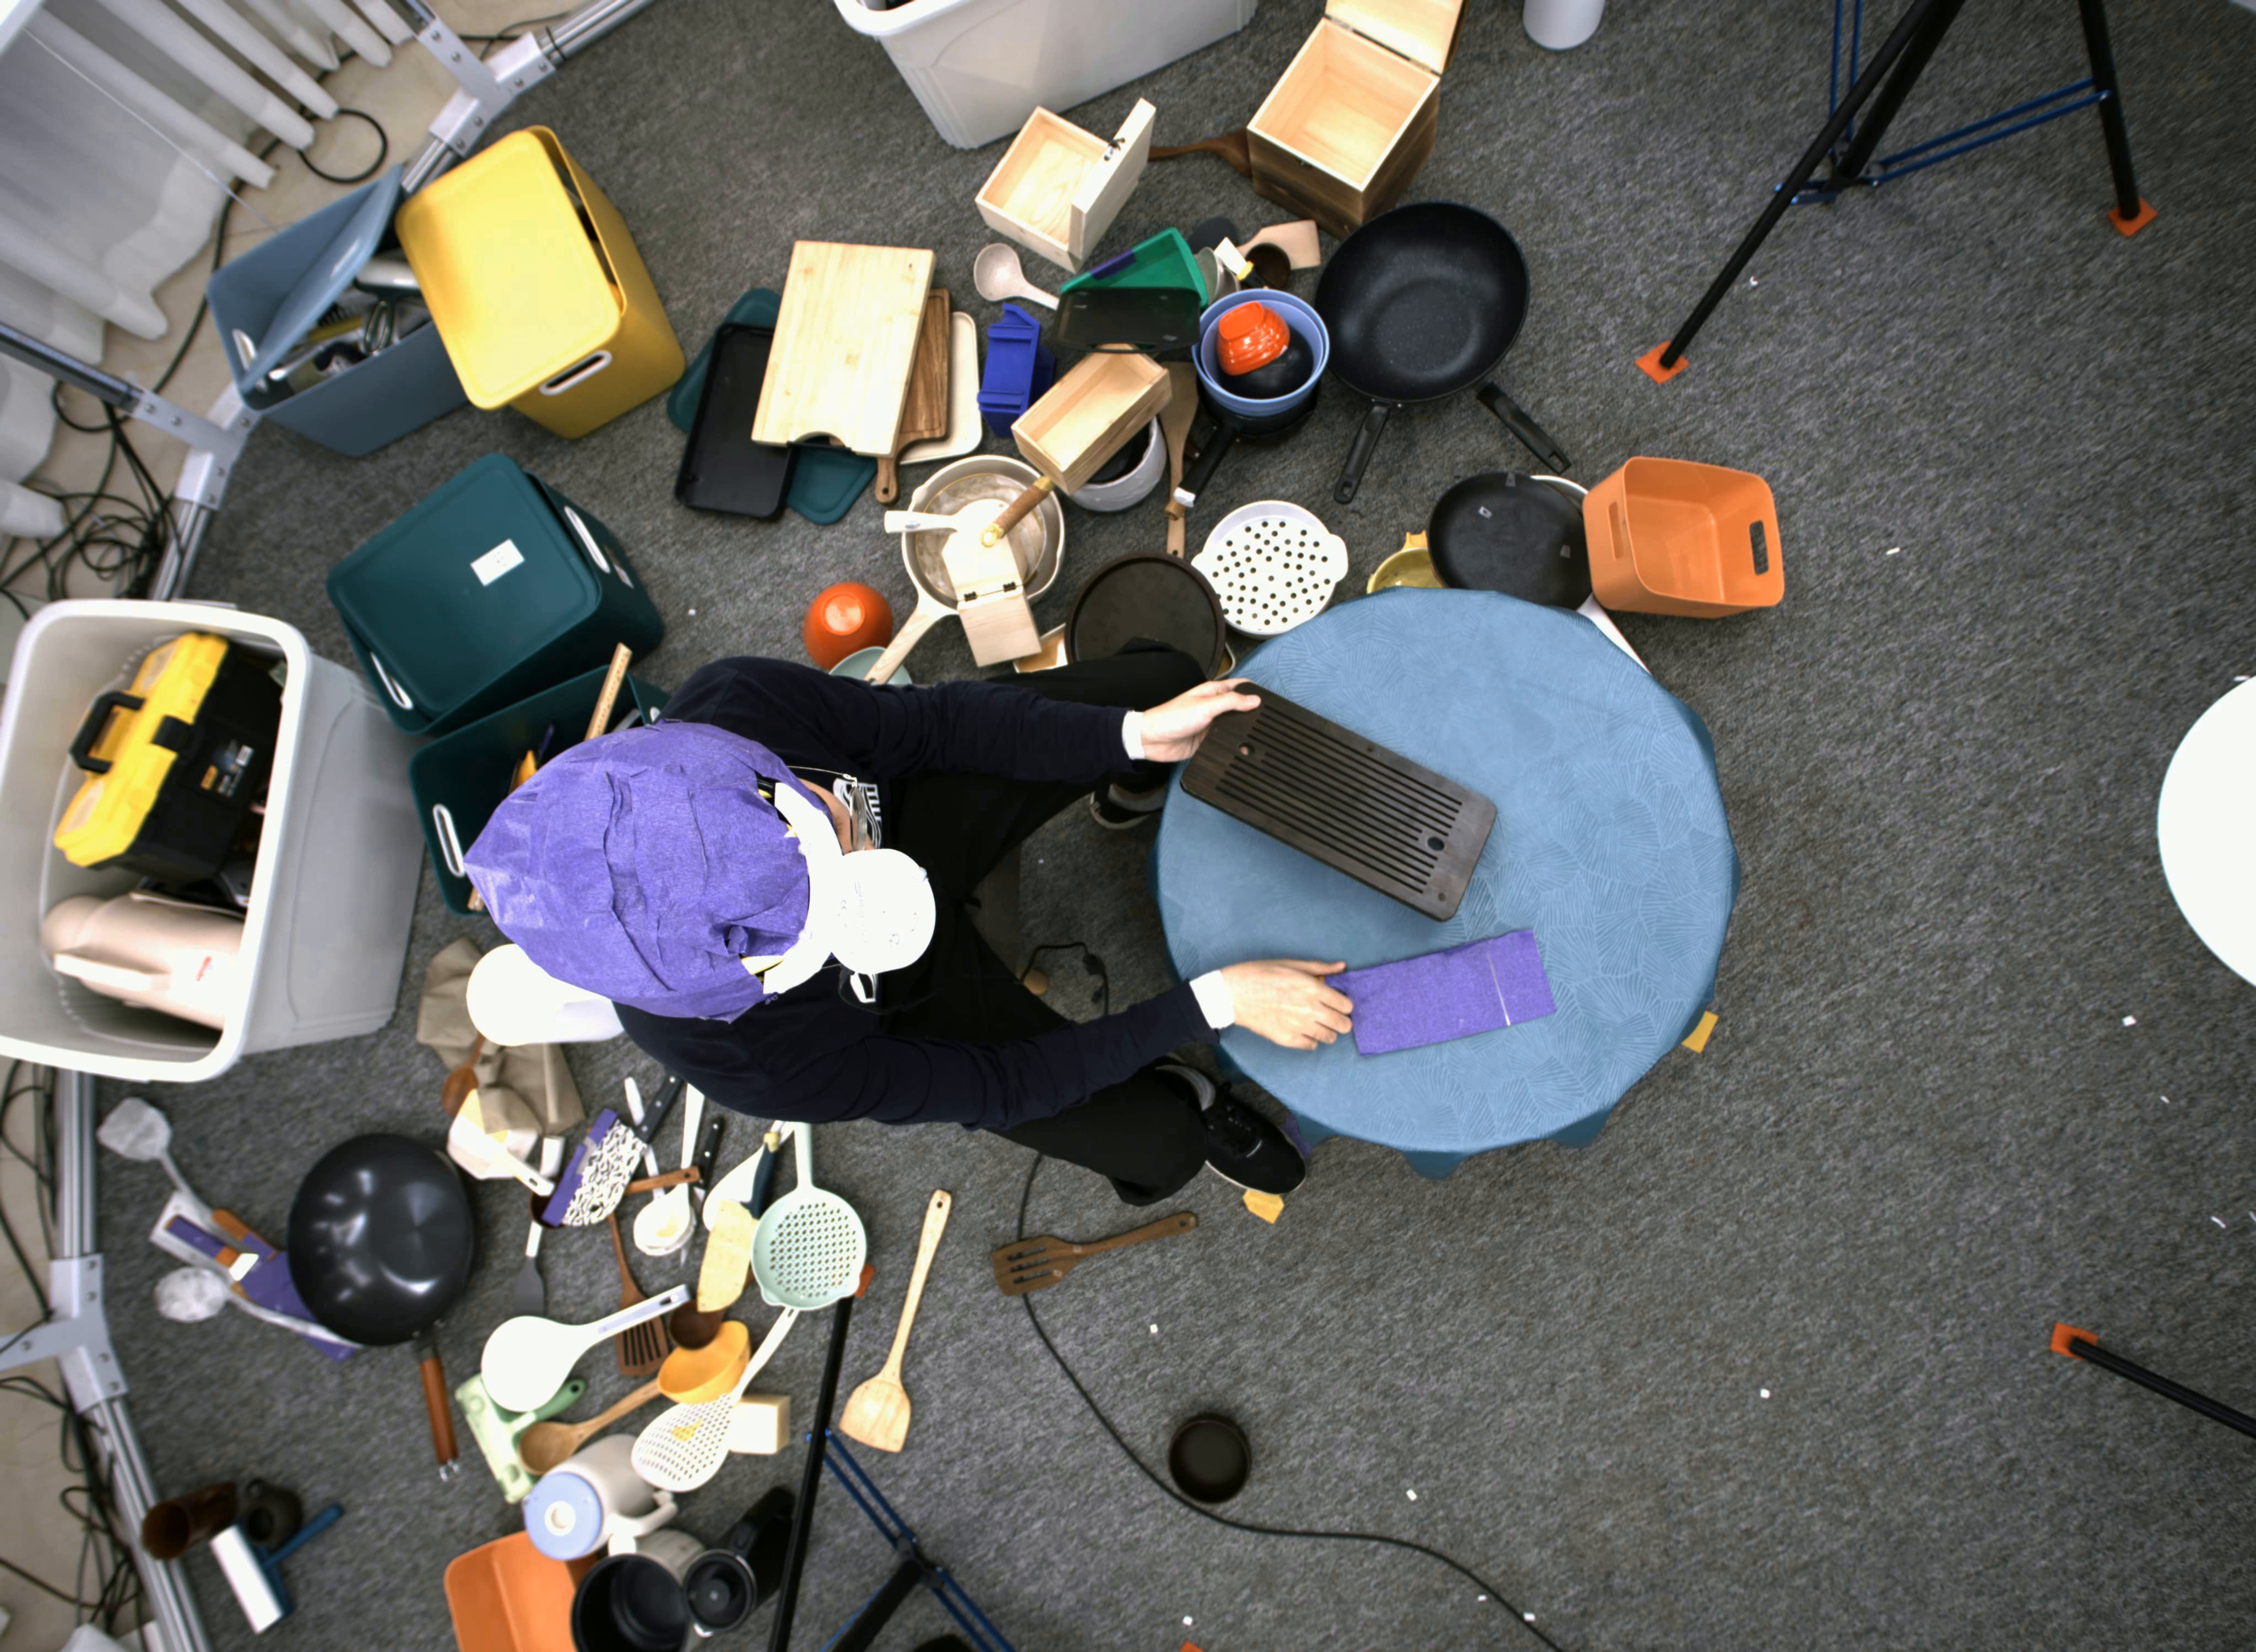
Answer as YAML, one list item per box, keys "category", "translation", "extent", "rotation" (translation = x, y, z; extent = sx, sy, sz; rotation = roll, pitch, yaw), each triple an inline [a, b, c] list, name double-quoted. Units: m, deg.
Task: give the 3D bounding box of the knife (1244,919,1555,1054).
- category: "knife"
  translation: [0.282, 0.182, 1.438]
  extent: [0.317, 0.032, 0.103]
  rotation: [-15, 84, 9]

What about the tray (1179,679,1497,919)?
- category: "tray"
  translation: [0.218, -0.031, 1.417]
  extent: [0.306, 0.019, 0.166]
  rotation: [27, 58, 7]
